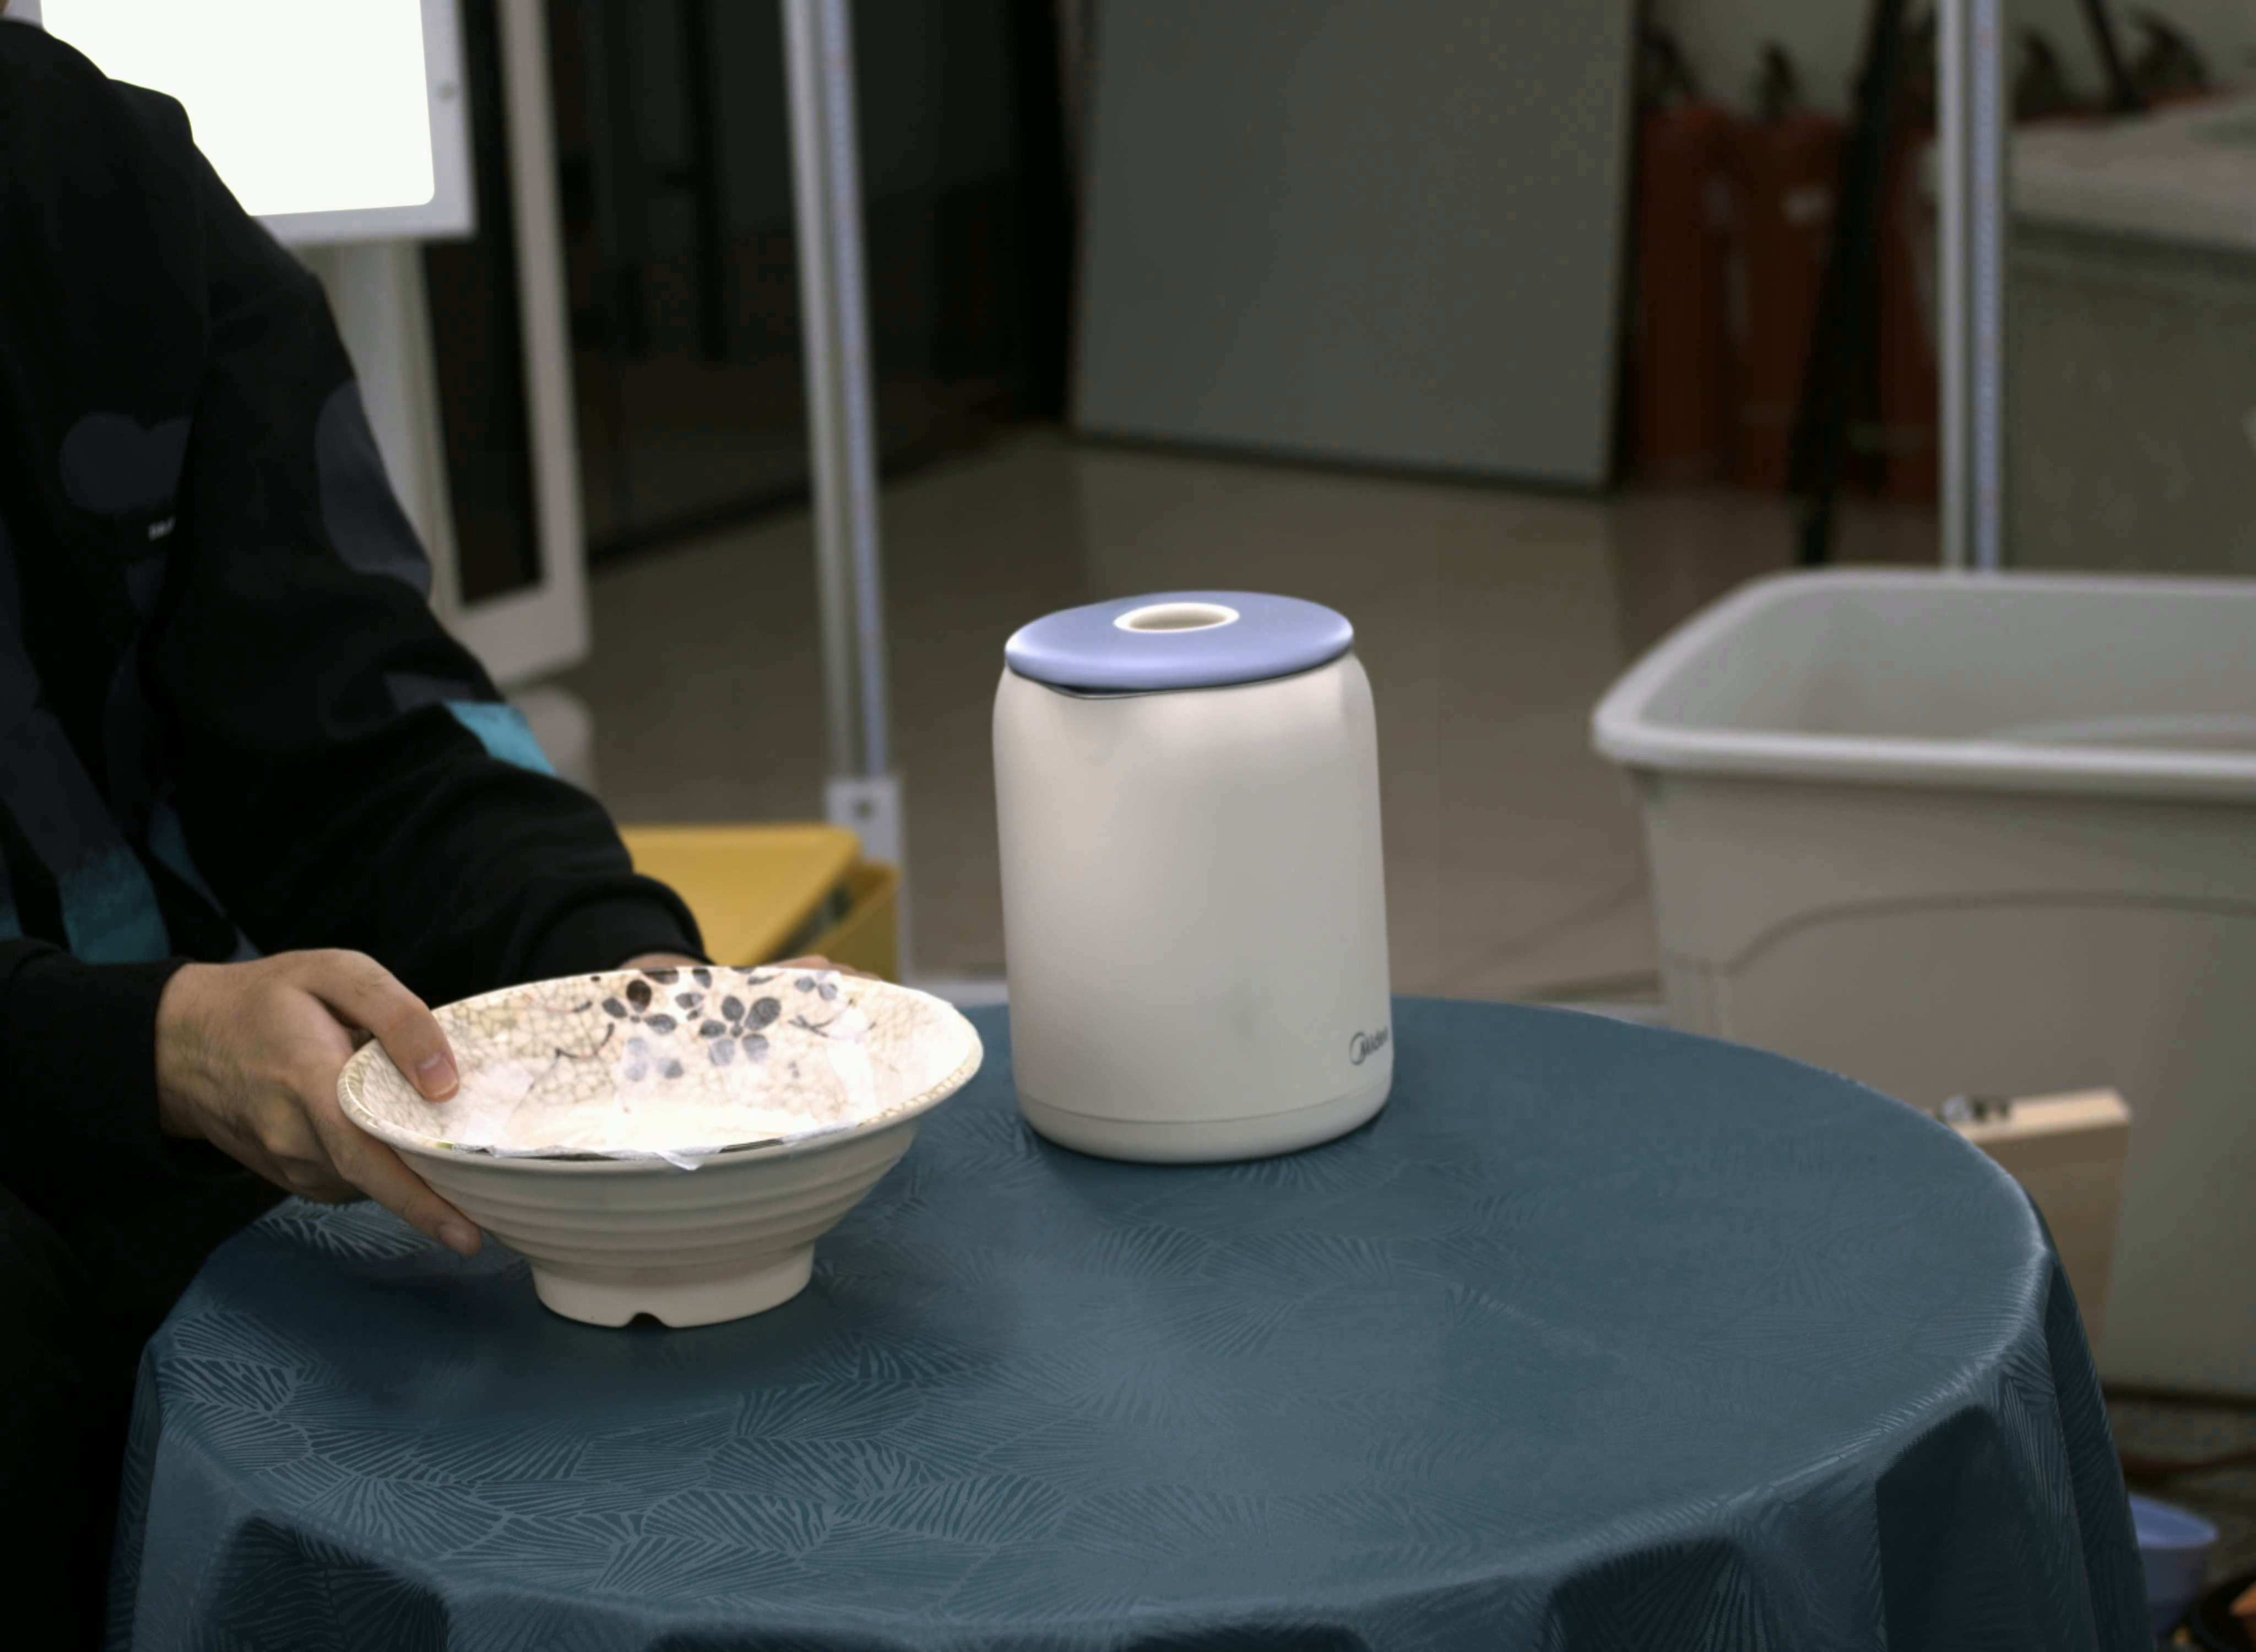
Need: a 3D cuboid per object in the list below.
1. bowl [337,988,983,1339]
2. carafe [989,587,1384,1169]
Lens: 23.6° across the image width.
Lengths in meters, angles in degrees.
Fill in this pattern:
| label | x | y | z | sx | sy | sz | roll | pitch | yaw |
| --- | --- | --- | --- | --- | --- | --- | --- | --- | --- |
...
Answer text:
| label | x | y | z | sx | sy | sz | roll | pitch | yaw |
| --- | --- | --- | --- | --- | --- | --- | --- | --- | --- |
| bowl | -0.143 | 0.111 | 1.696 | 0.201 | 0.079 | 0.204 | -4 | 12 | 0 |
| carafe | 0.031 | 0.012 | 1.849 | 0.132 | 0.184 | 0.188 | 4 | 13 | 27 |
